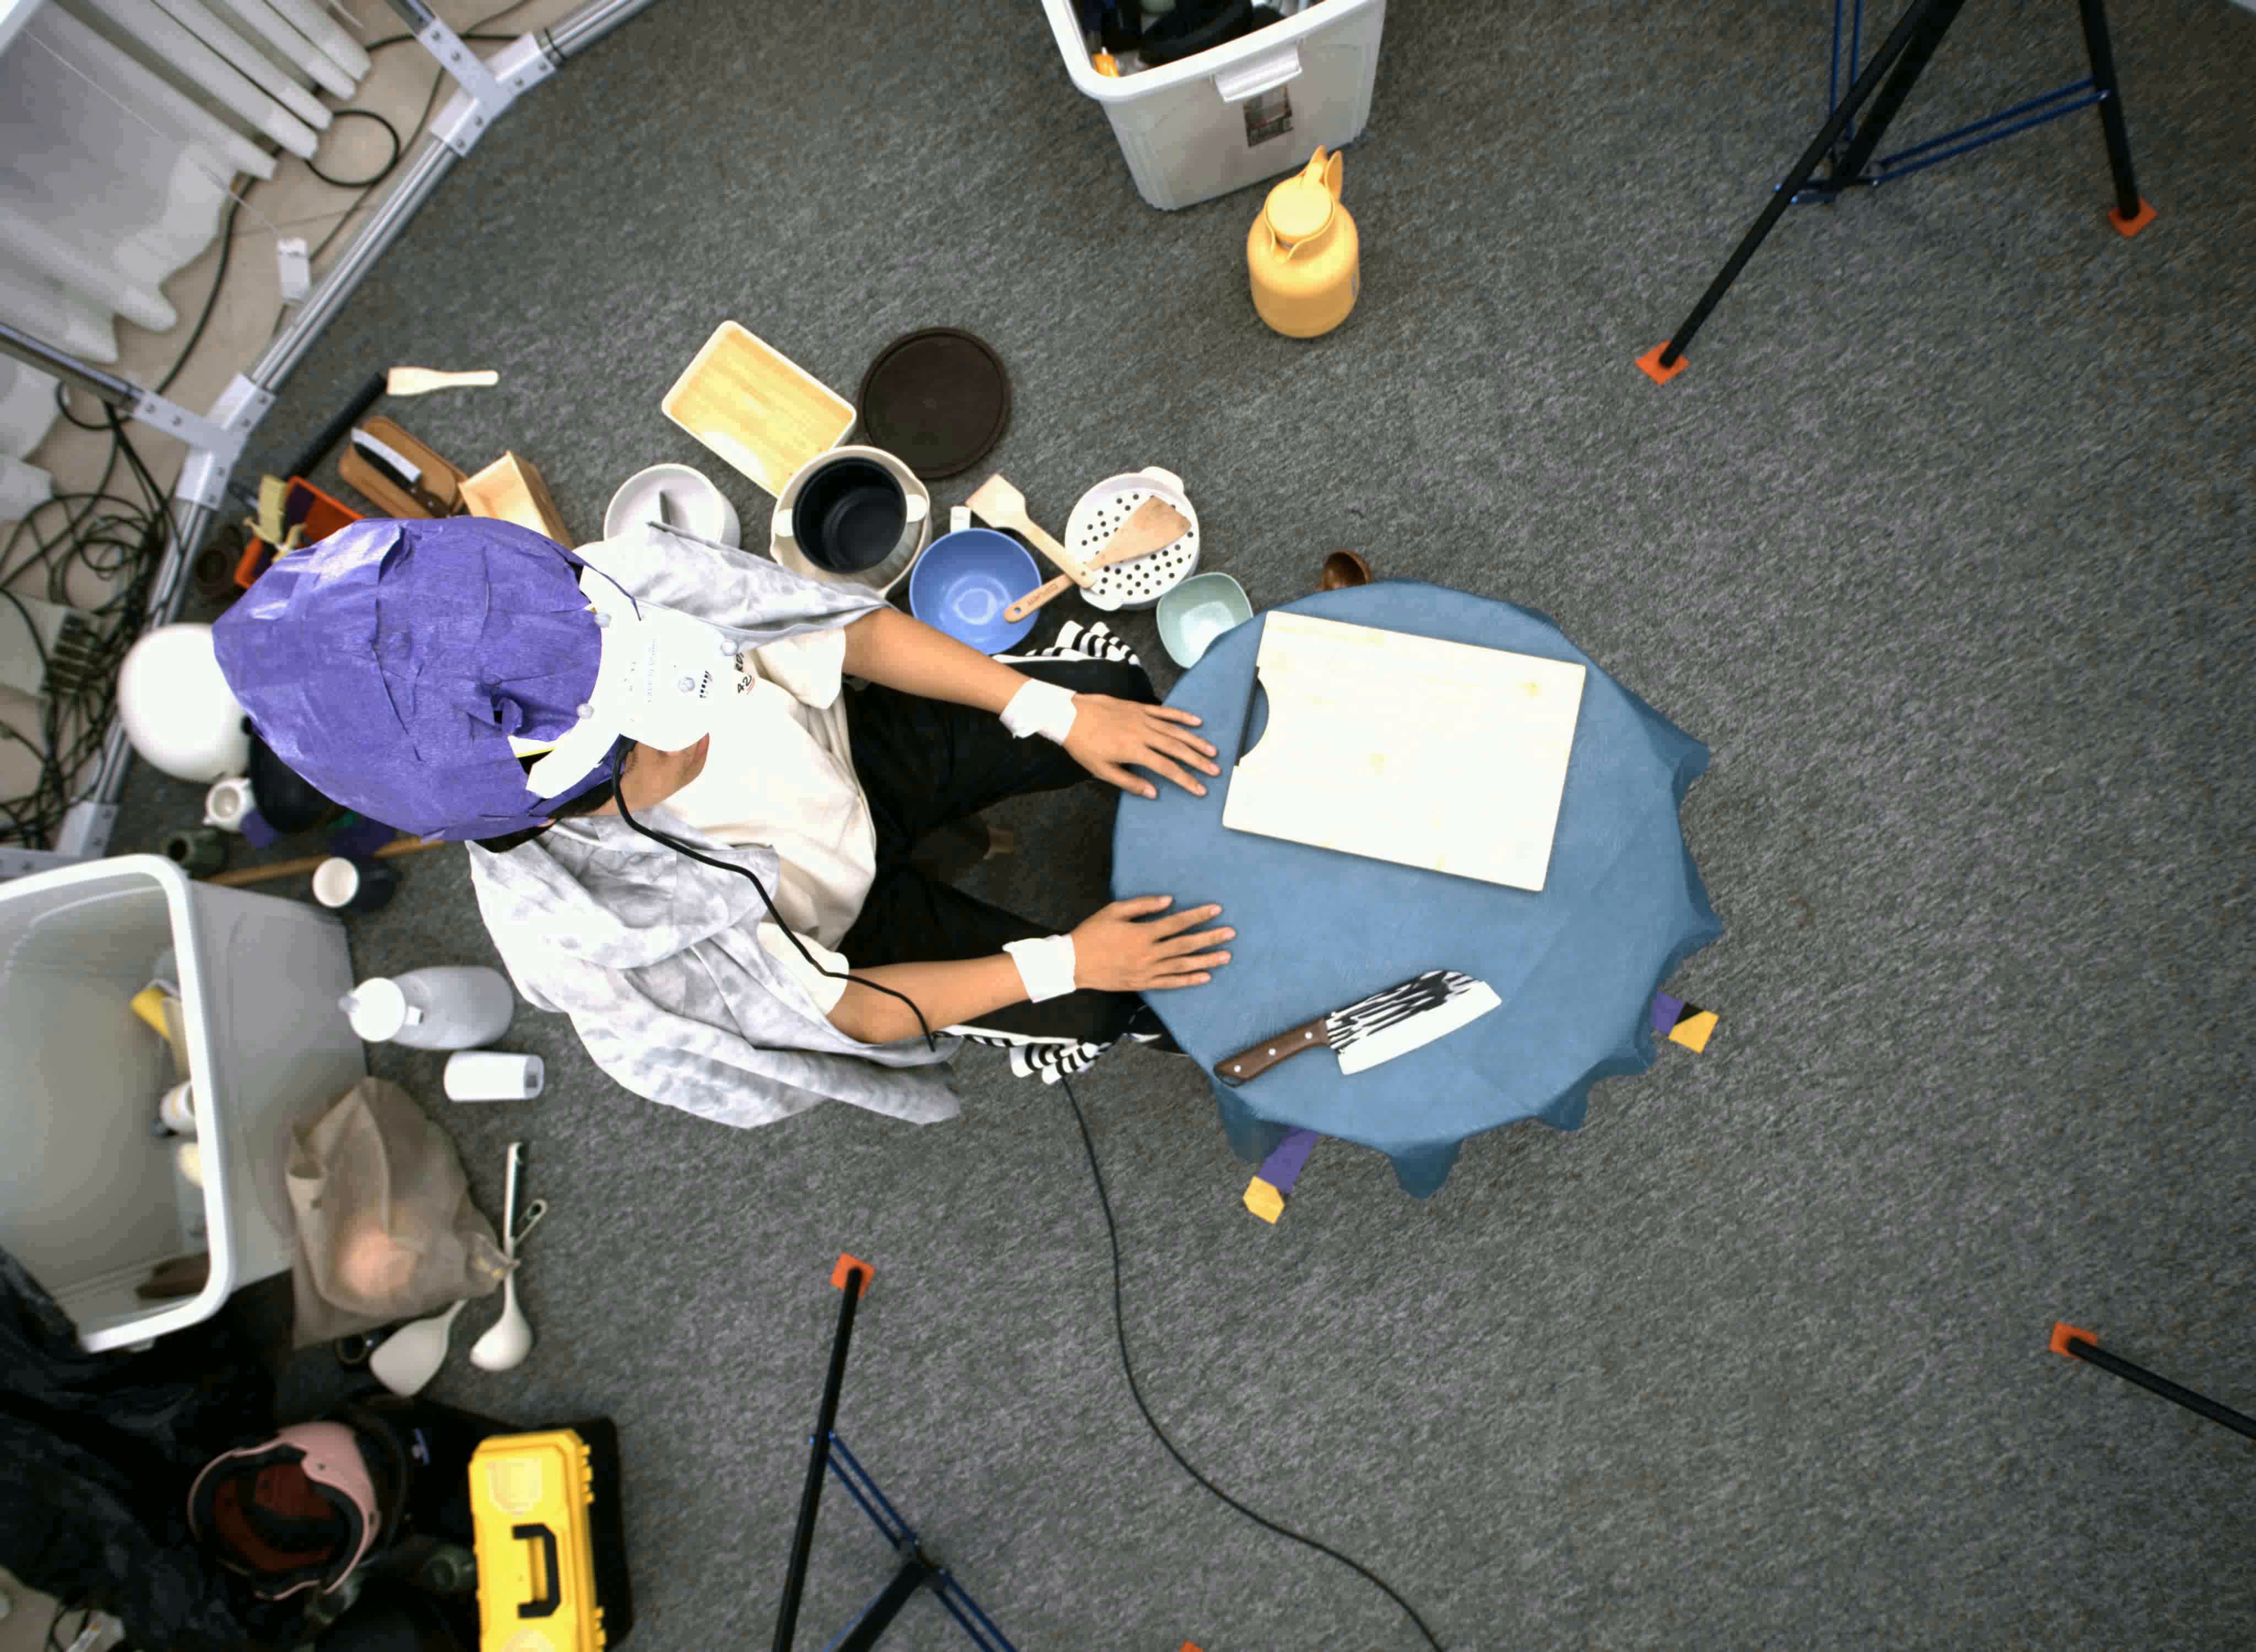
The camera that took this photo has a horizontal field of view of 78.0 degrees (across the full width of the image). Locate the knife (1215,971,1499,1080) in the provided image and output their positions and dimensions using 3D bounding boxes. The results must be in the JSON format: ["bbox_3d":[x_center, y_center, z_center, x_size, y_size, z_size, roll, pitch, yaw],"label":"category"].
[{"bbox_3d":[0.239,0.217,1.446,0.301,0.024,0.068,-22,84,6],"label":"knife"}]

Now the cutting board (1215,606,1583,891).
[{"bbox_3d":[0.284,-0.086,1.456,0.349,0.023,0.250,11,89,11],"label":"cutting board"}]
